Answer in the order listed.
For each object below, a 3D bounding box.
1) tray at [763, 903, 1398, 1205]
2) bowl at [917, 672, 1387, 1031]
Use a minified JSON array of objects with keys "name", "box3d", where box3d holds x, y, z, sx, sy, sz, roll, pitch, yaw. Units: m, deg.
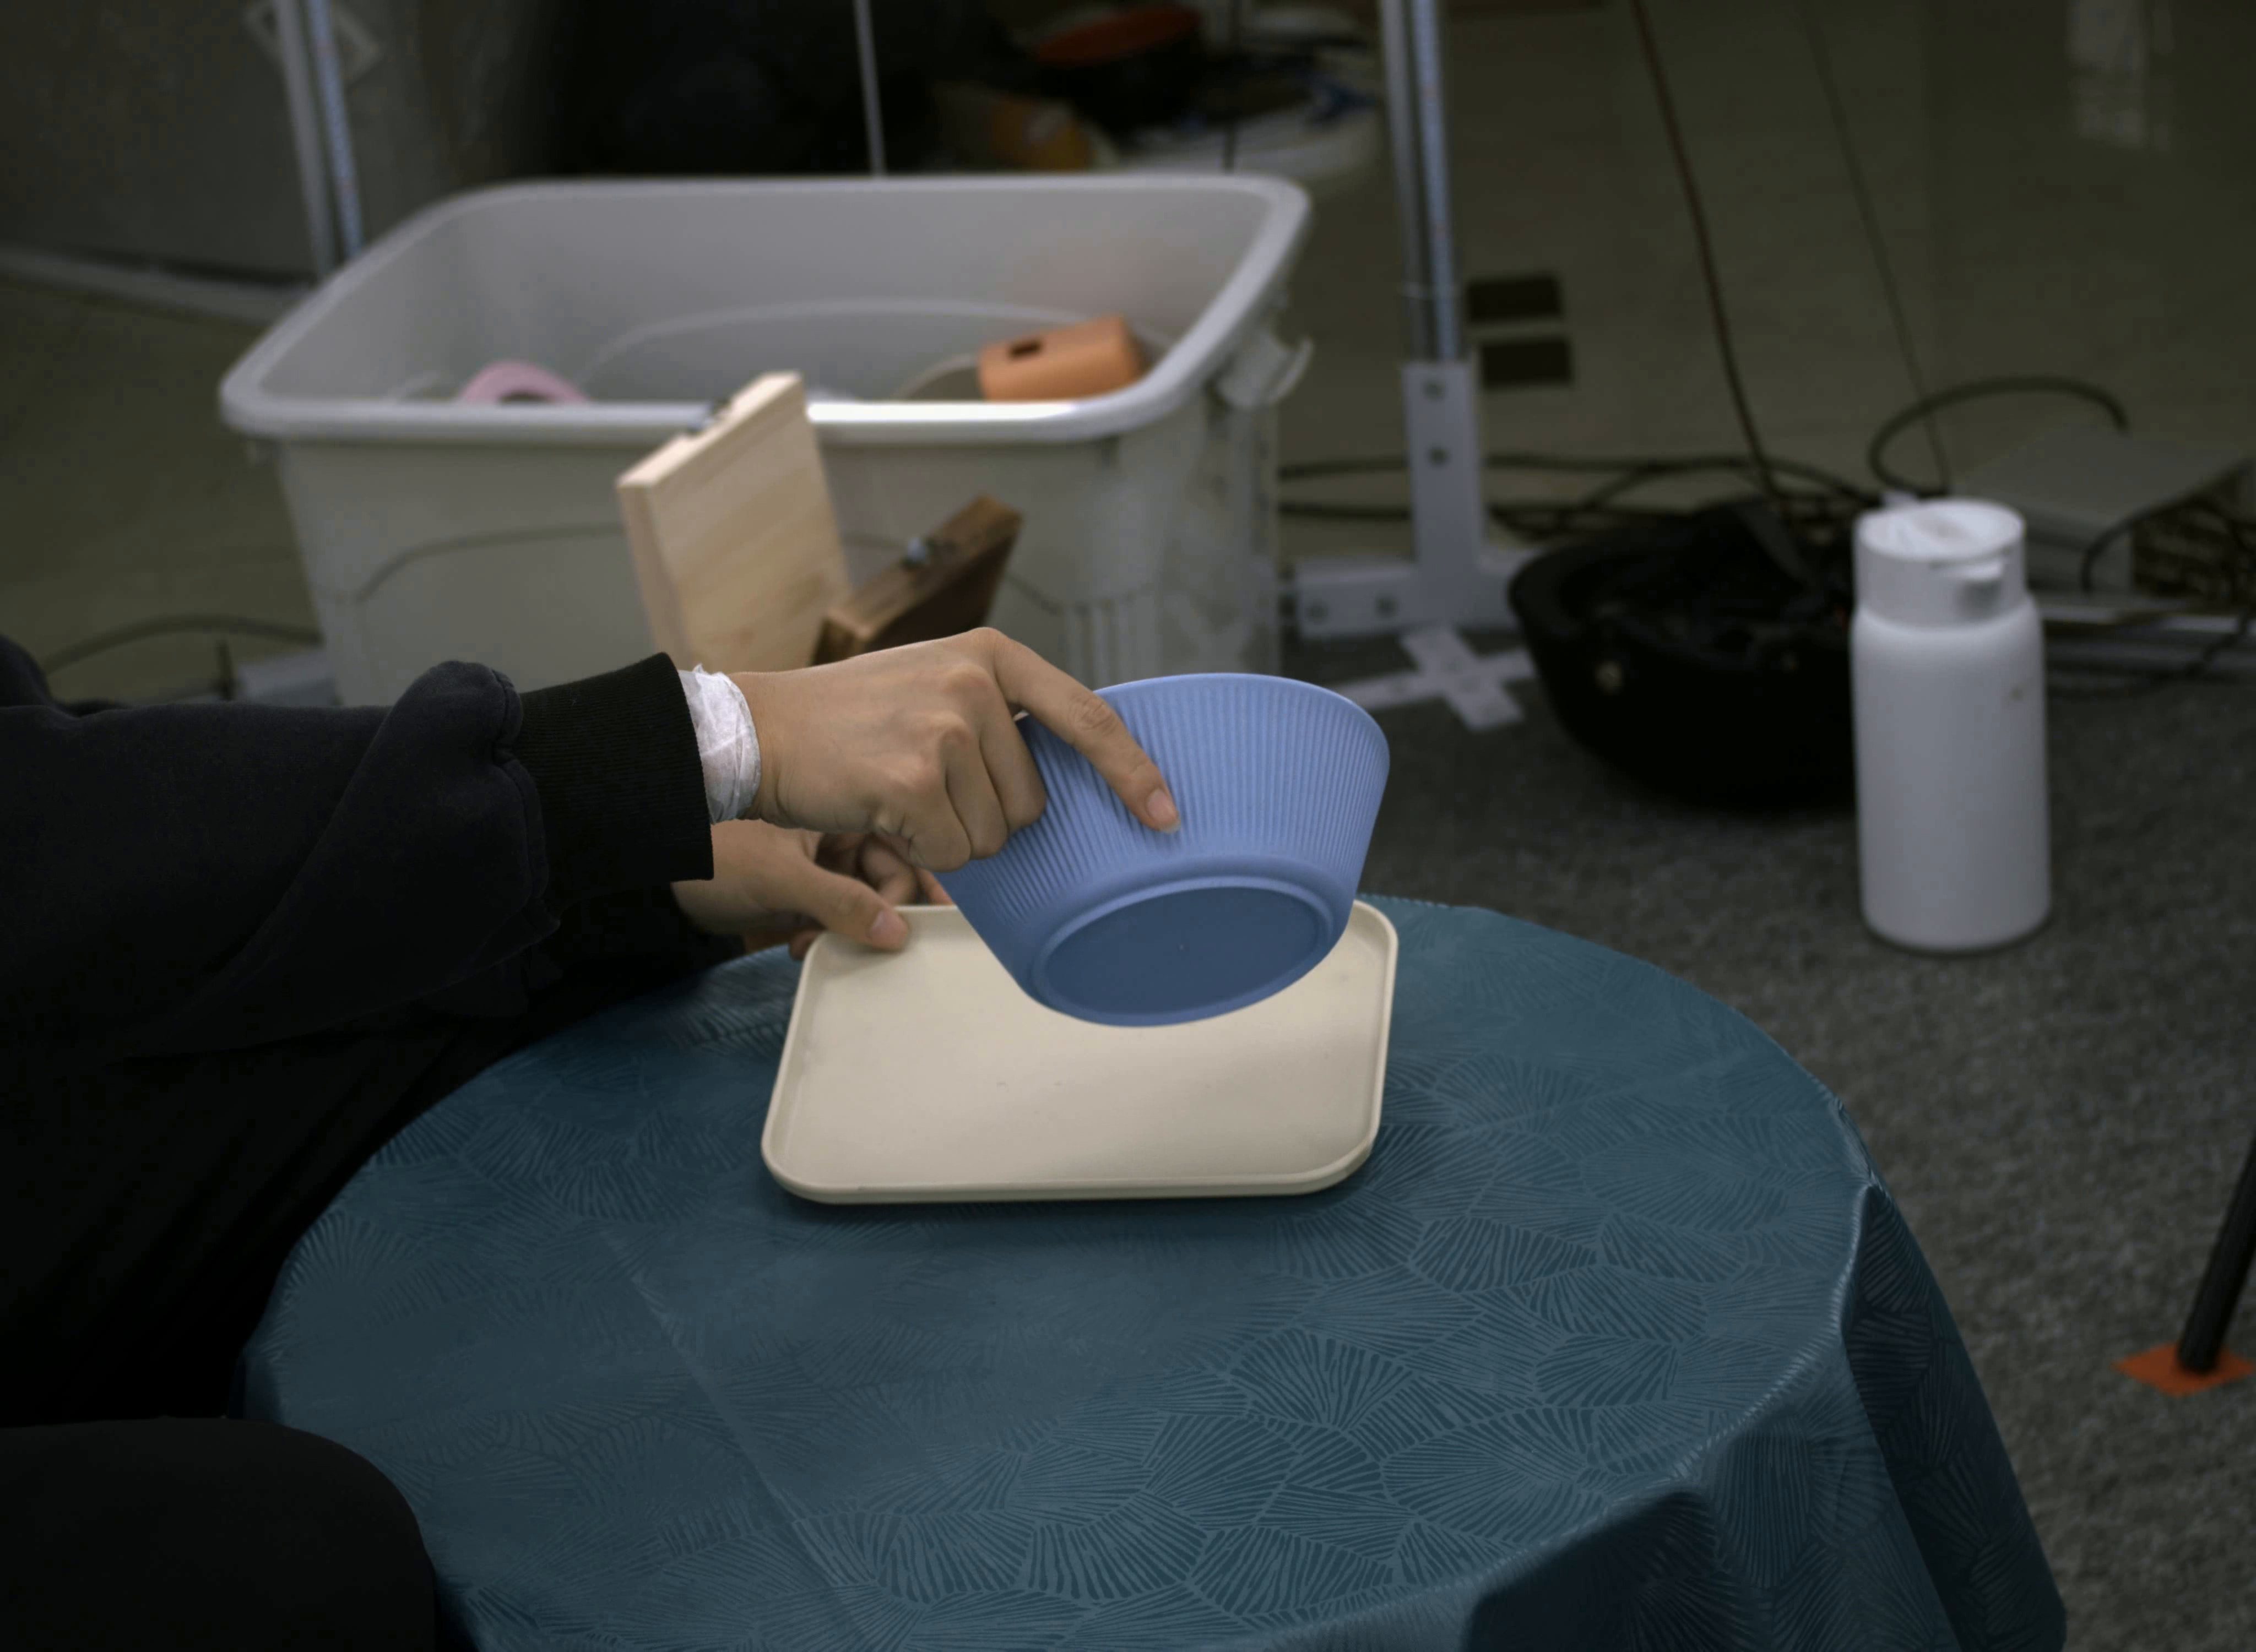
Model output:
[{"name":"tray","box3d":[-0.016,0.089,2.204,0.239,0.018,0.168,-2,38,9]},{"name":"bowl","box3d":[0.015,0.018,2.049,0.176,0.179,0.069,-9,61,-6]}]
